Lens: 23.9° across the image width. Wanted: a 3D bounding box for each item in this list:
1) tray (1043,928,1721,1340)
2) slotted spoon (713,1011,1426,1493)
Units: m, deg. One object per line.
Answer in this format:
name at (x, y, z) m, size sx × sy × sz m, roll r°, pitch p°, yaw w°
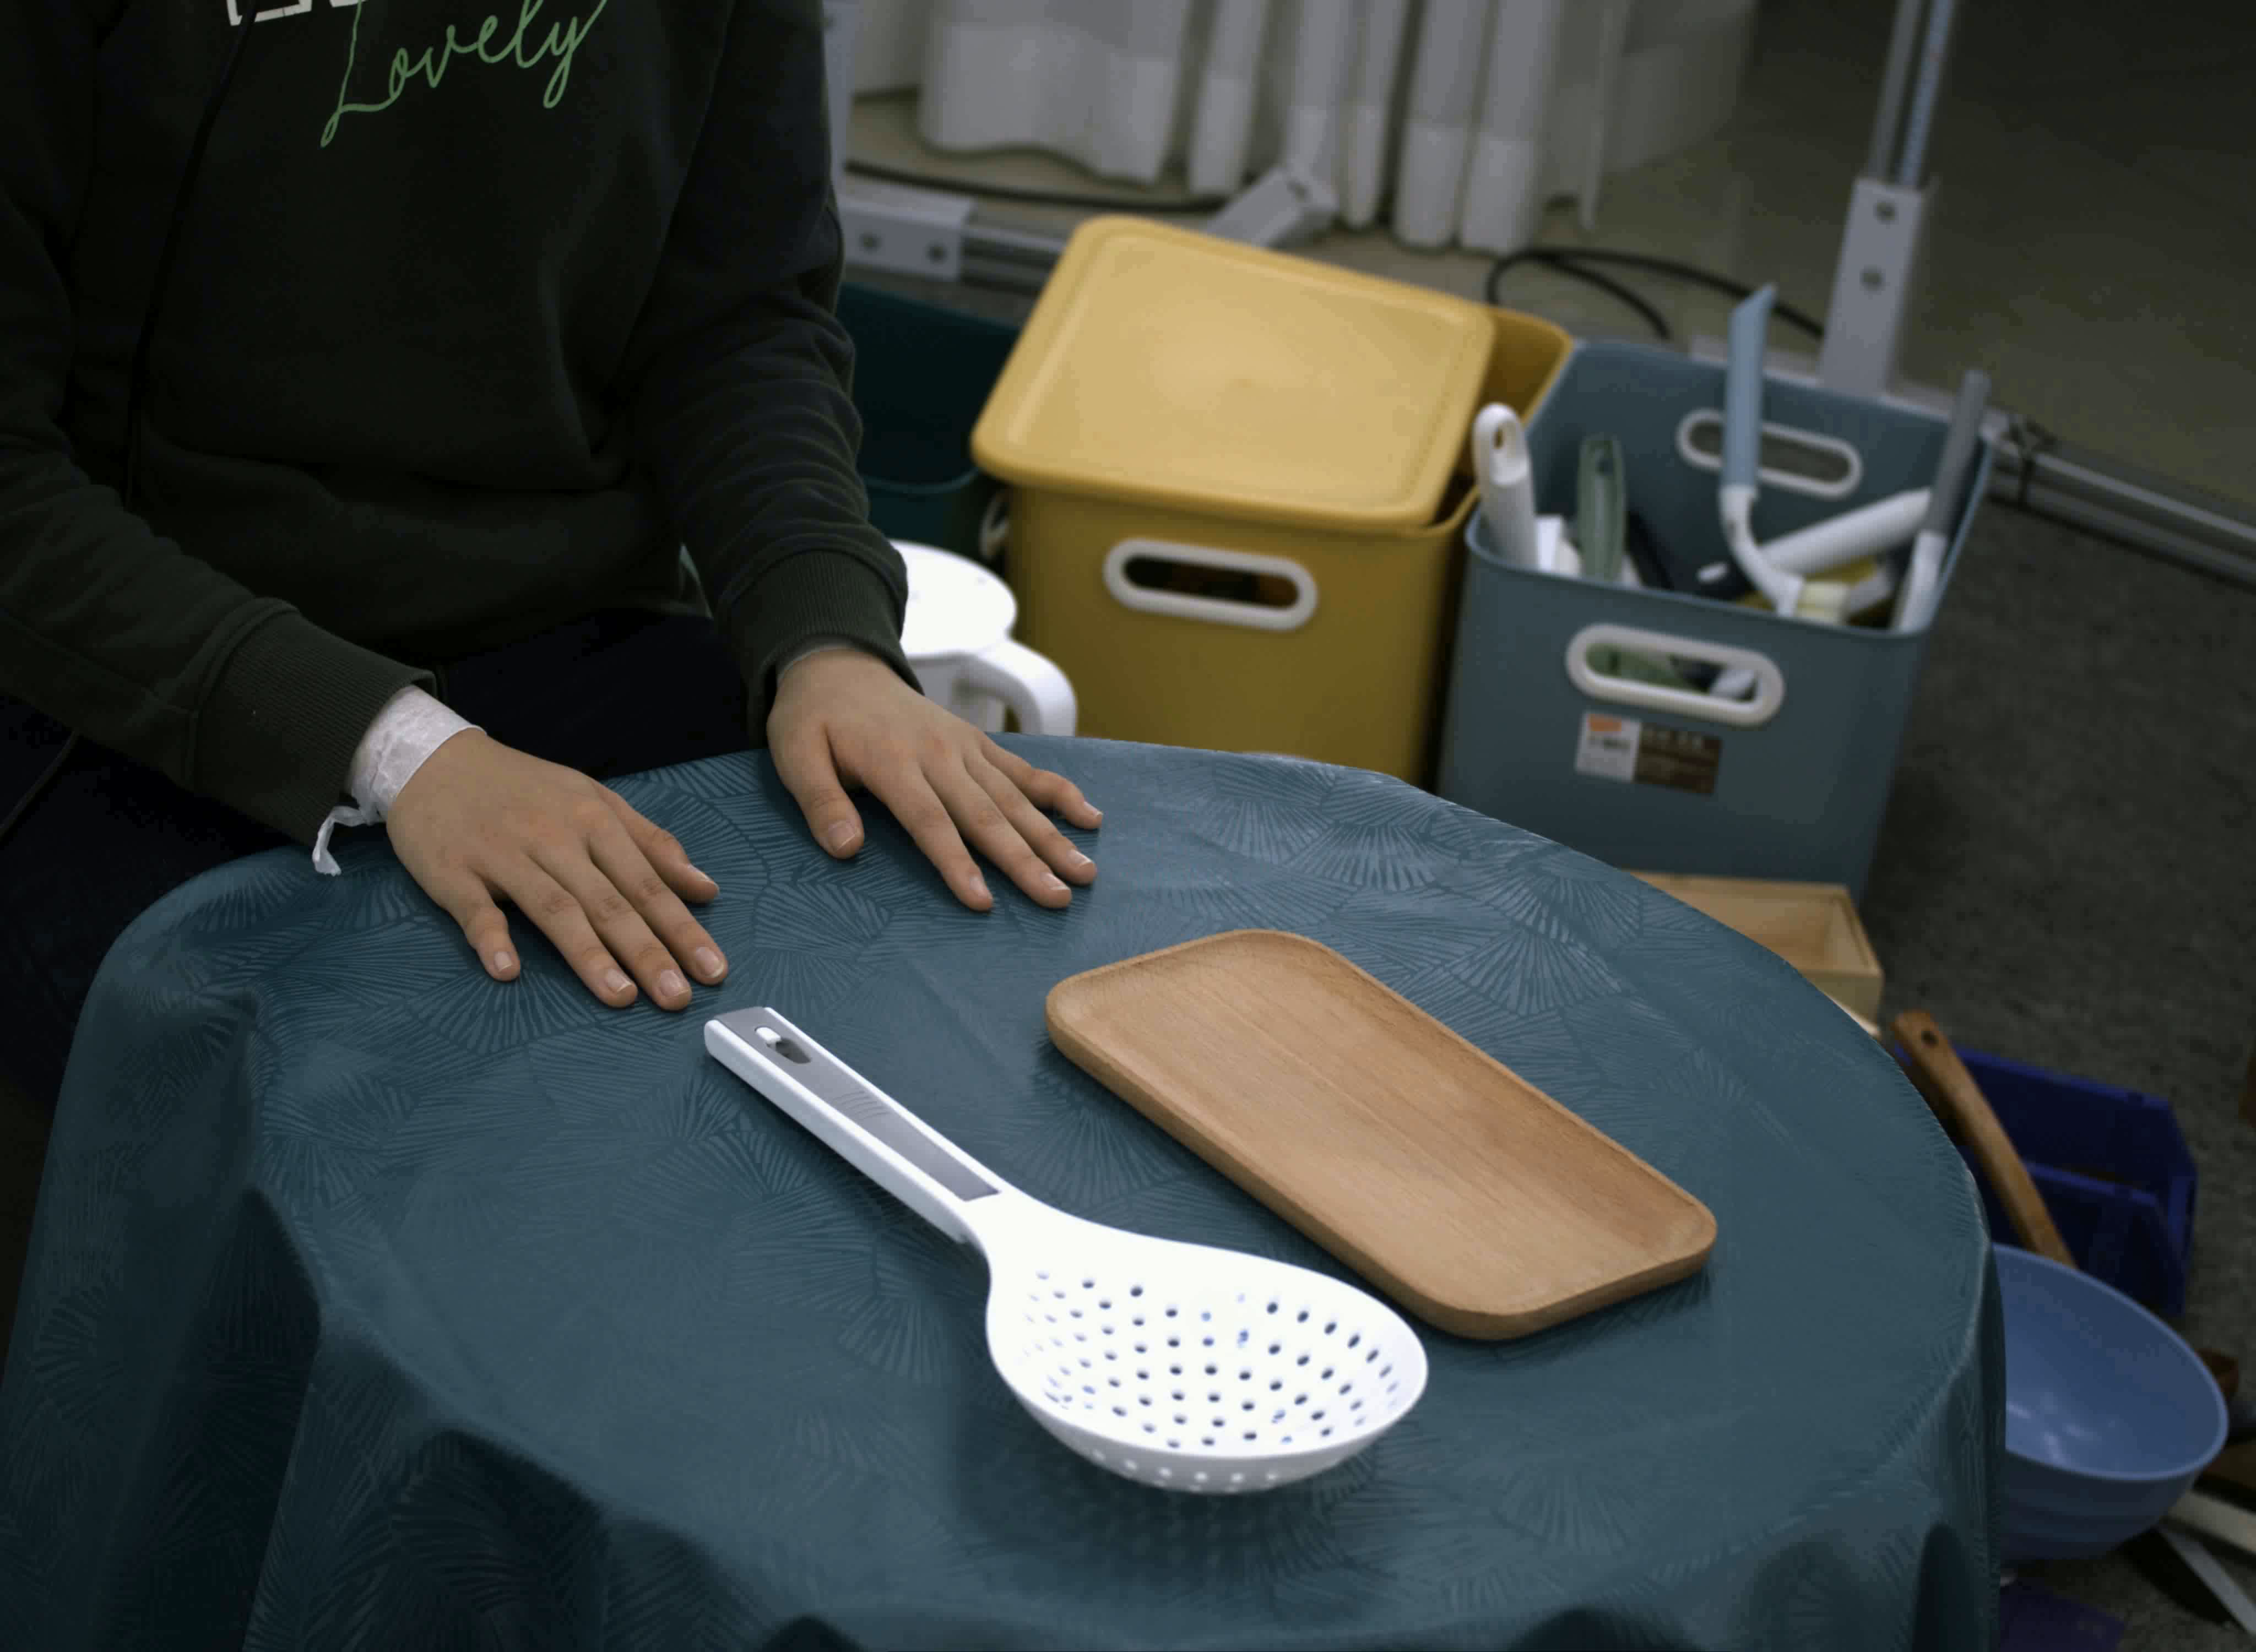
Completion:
tray at (0.084, 0.104, 1.840) m, size 0.130 × 0.023 × 0.253 m, roll -12°, pitch 31°, yaw -36°
slotted spoon at (-0.038, 0.132, 1.725) m, size 0.135 × 0.045 × 0.353 m, roll -10°, pitch 30°, yaw -33°
